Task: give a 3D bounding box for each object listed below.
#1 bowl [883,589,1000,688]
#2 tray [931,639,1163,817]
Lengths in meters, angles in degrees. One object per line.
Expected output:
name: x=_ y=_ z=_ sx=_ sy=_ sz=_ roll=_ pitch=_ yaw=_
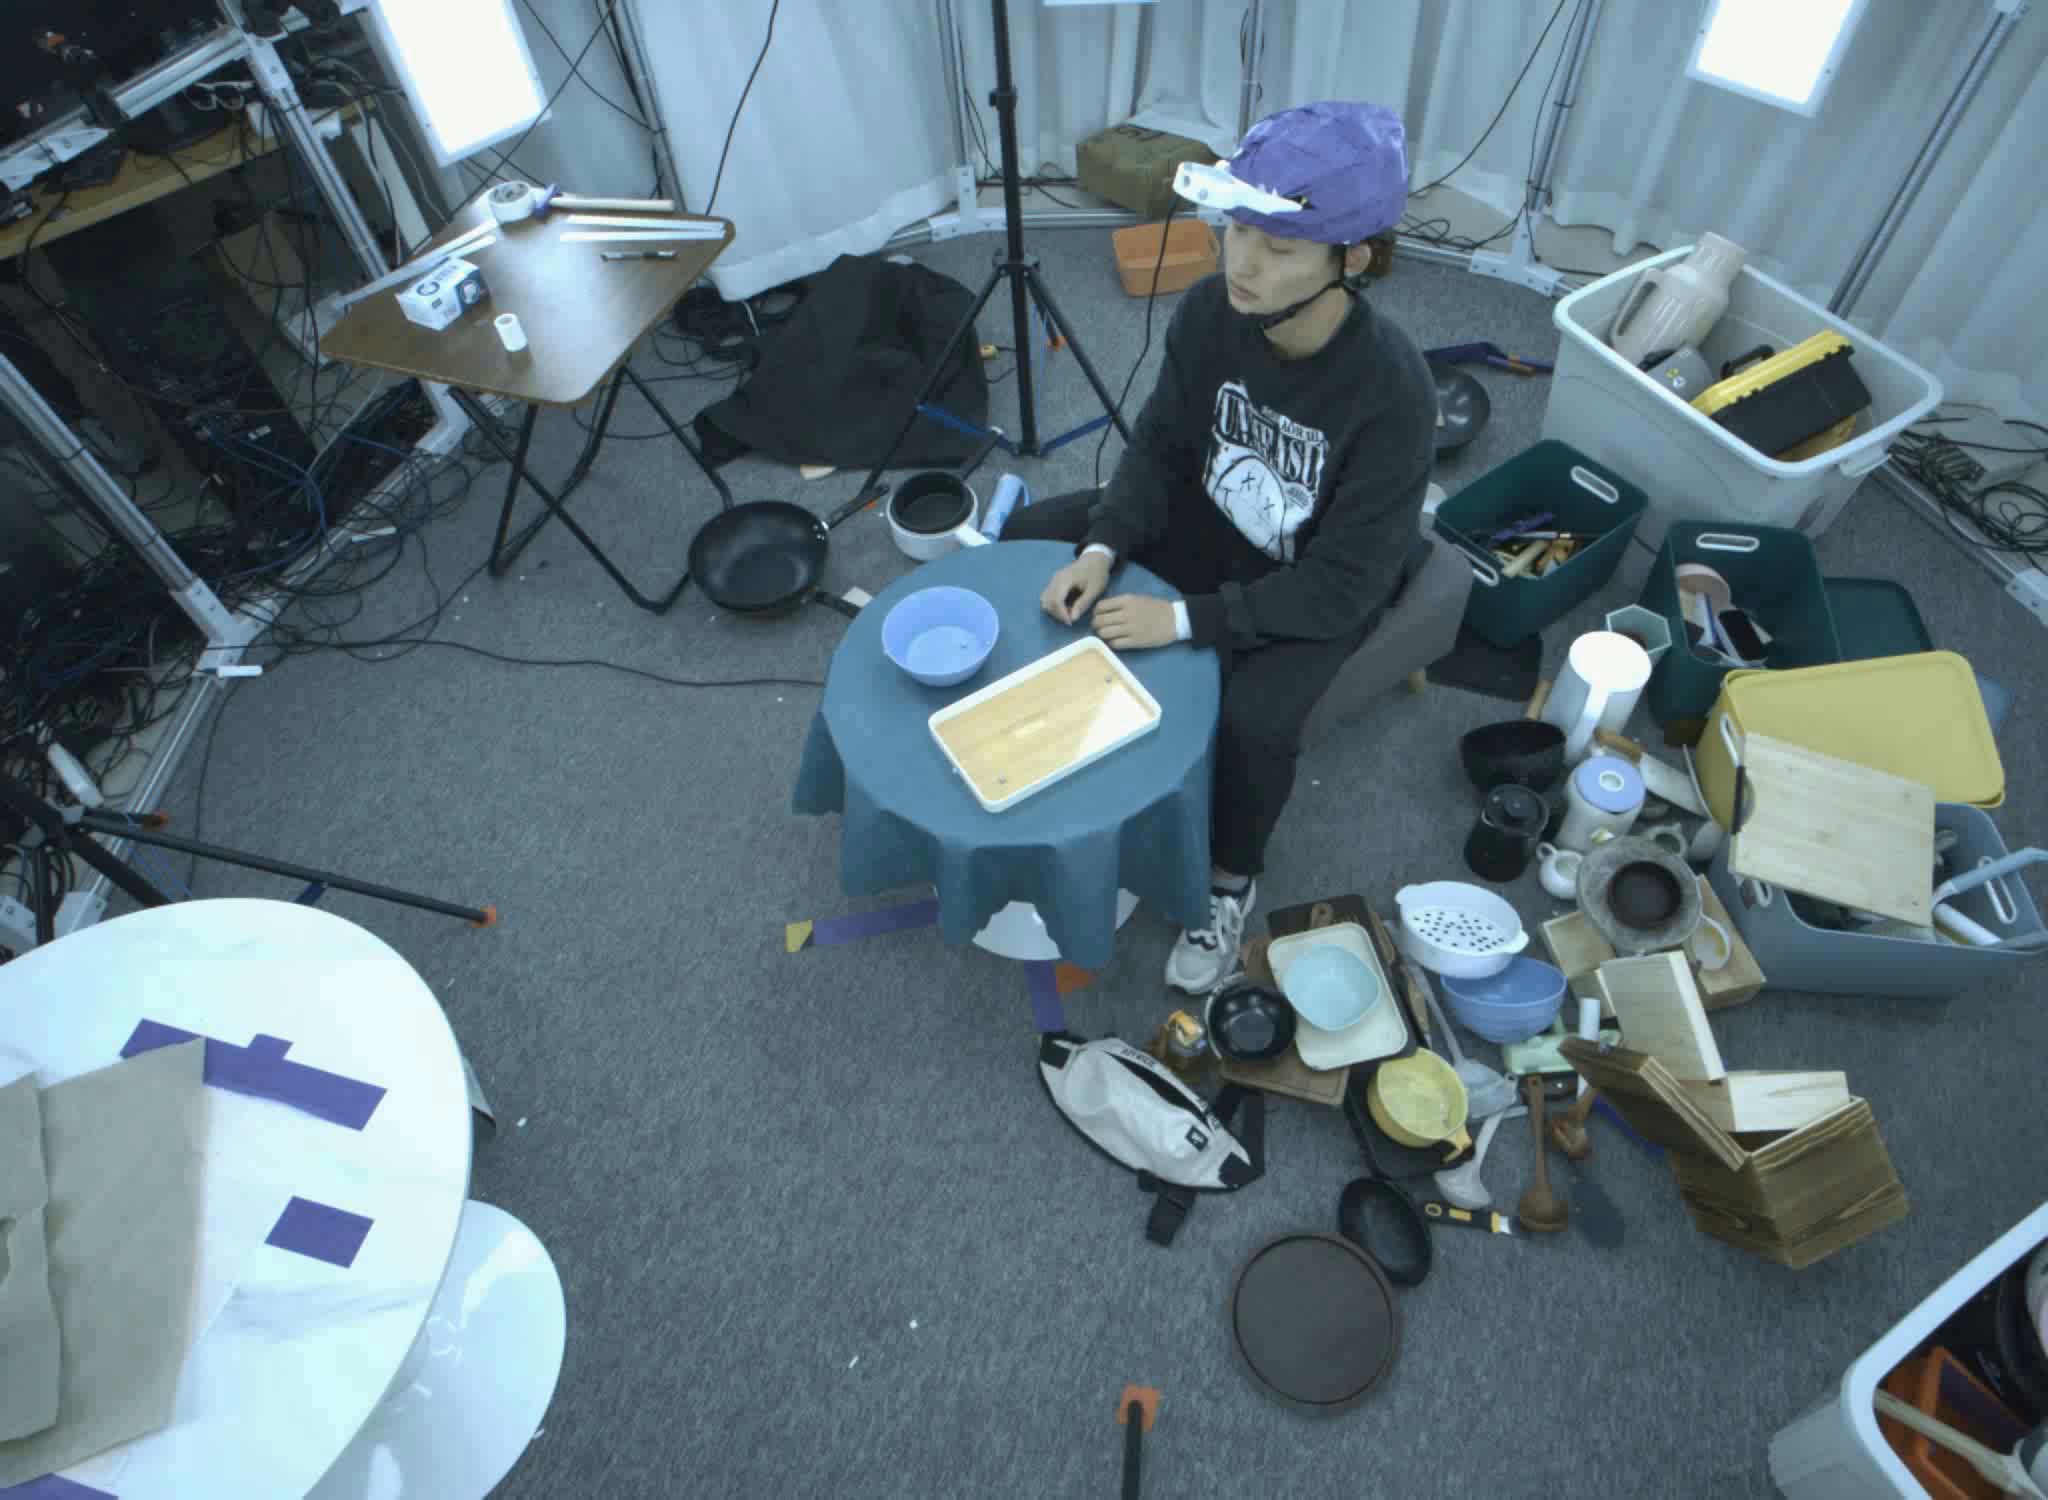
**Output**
bowl: x=-0.123 y=-0.160 z=1.869 sx=0.176 sy=0.071 sz=0.174 roll=0 pitch=56 yaw=1
tray: x=0.034 y=-0.037 z=1.807 sx=0.302 sy=0.028 sz=0.188 roll=-28 pitch=58 yaw=-17
